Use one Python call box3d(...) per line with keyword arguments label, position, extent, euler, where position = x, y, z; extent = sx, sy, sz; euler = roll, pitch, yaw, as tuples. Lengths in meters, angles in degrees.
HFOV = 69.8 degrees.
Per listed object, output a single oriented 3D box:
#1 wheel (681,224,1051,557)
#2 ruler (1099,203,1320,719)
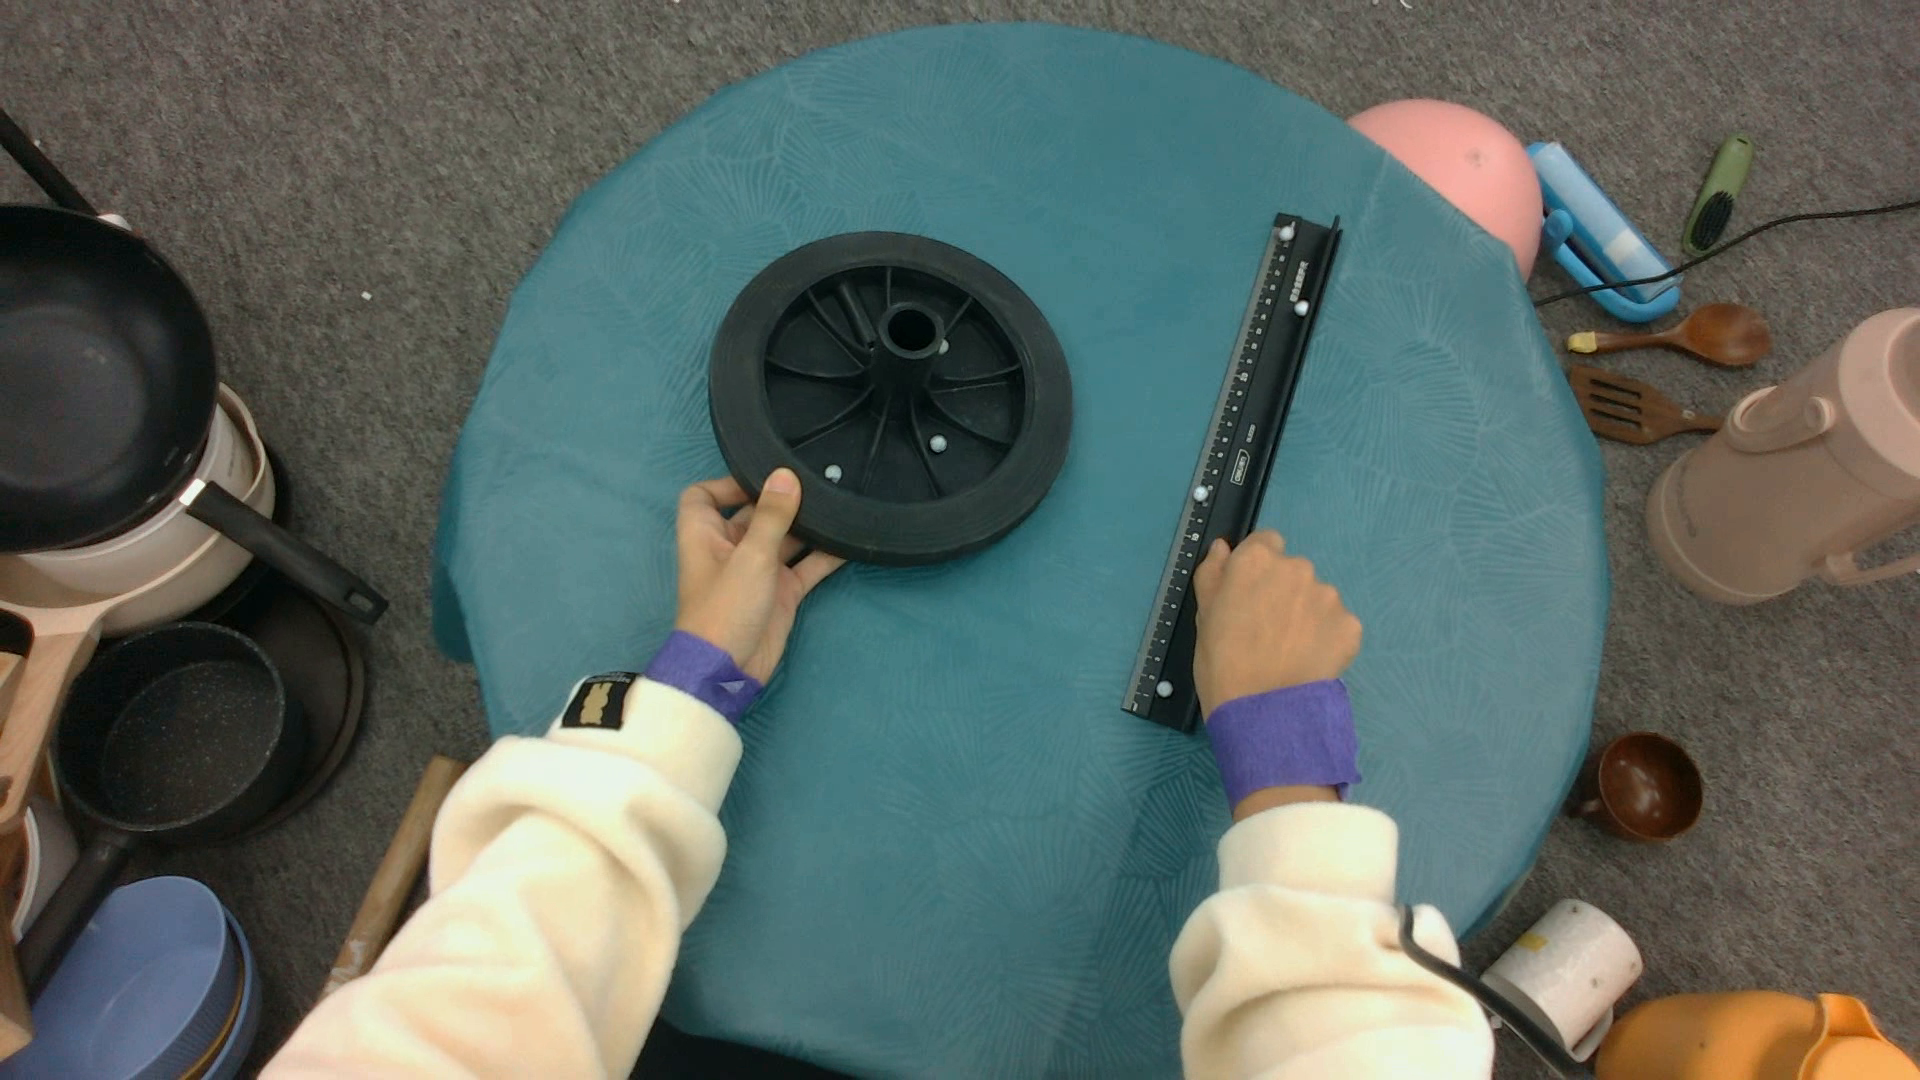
box3d(label="wheel", position=(-0.042, -0.089, 0.688), extent=(0.190, 0.079, 0.188), euler=(43, 65, 7))
box3d(label="ruler", position=(0.138, -0.056, 0.730), extent=(0.039, 0.017, 0.313), euler=(19, 69, 6))
